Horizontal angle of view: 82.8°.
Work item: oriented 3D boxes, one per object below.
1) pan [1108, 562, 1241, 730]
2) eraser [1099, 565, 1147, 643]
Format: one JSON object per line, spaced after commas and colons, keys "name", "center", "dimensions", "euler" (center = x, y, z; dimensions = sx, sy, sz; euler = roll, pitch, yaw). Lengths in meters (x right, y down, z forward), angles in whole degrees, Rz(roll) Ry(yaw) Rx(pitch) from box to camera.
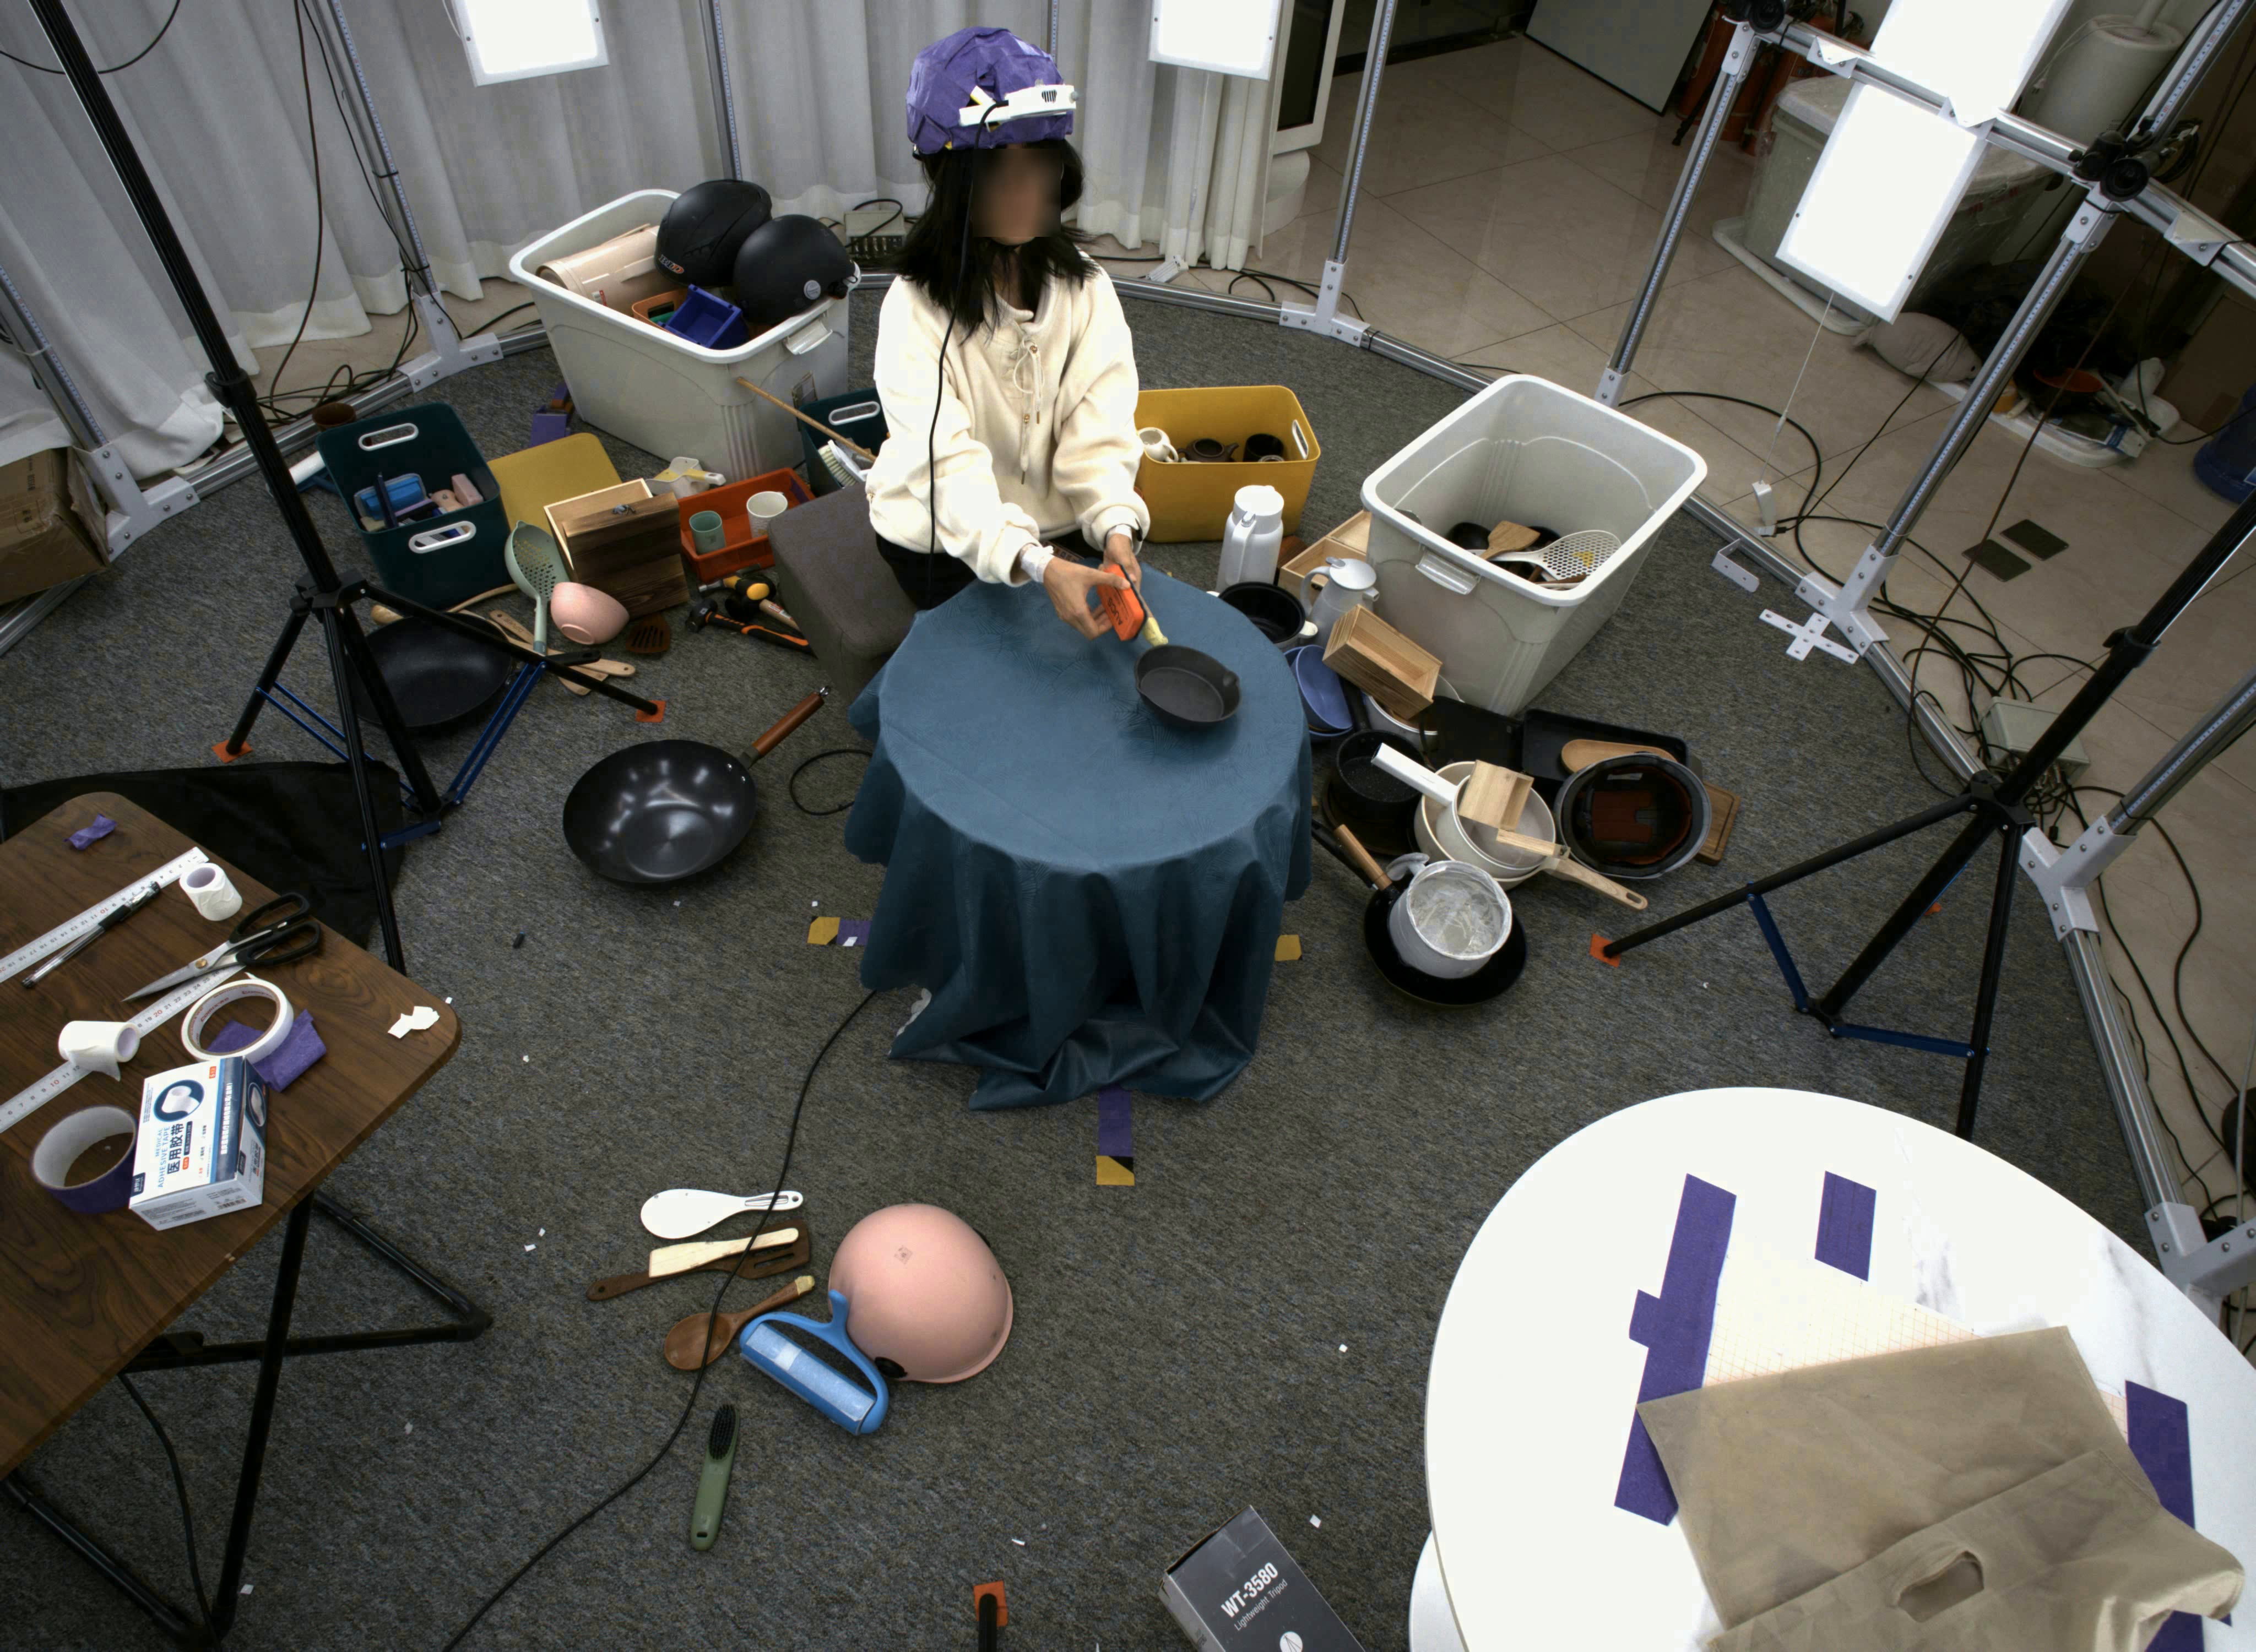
{"name": "pan", "center": [0.046, -0.259, 1.838], "dimensions": [0.169, 0.048, 0.331], "euler": [-9, 52, -28]}
{"name": "eraser", "center": [-0.007, -0.315, 1.826], "dimensions": [0.023, 0.058, 0.110], "euler": [-4, 55, -29]}
